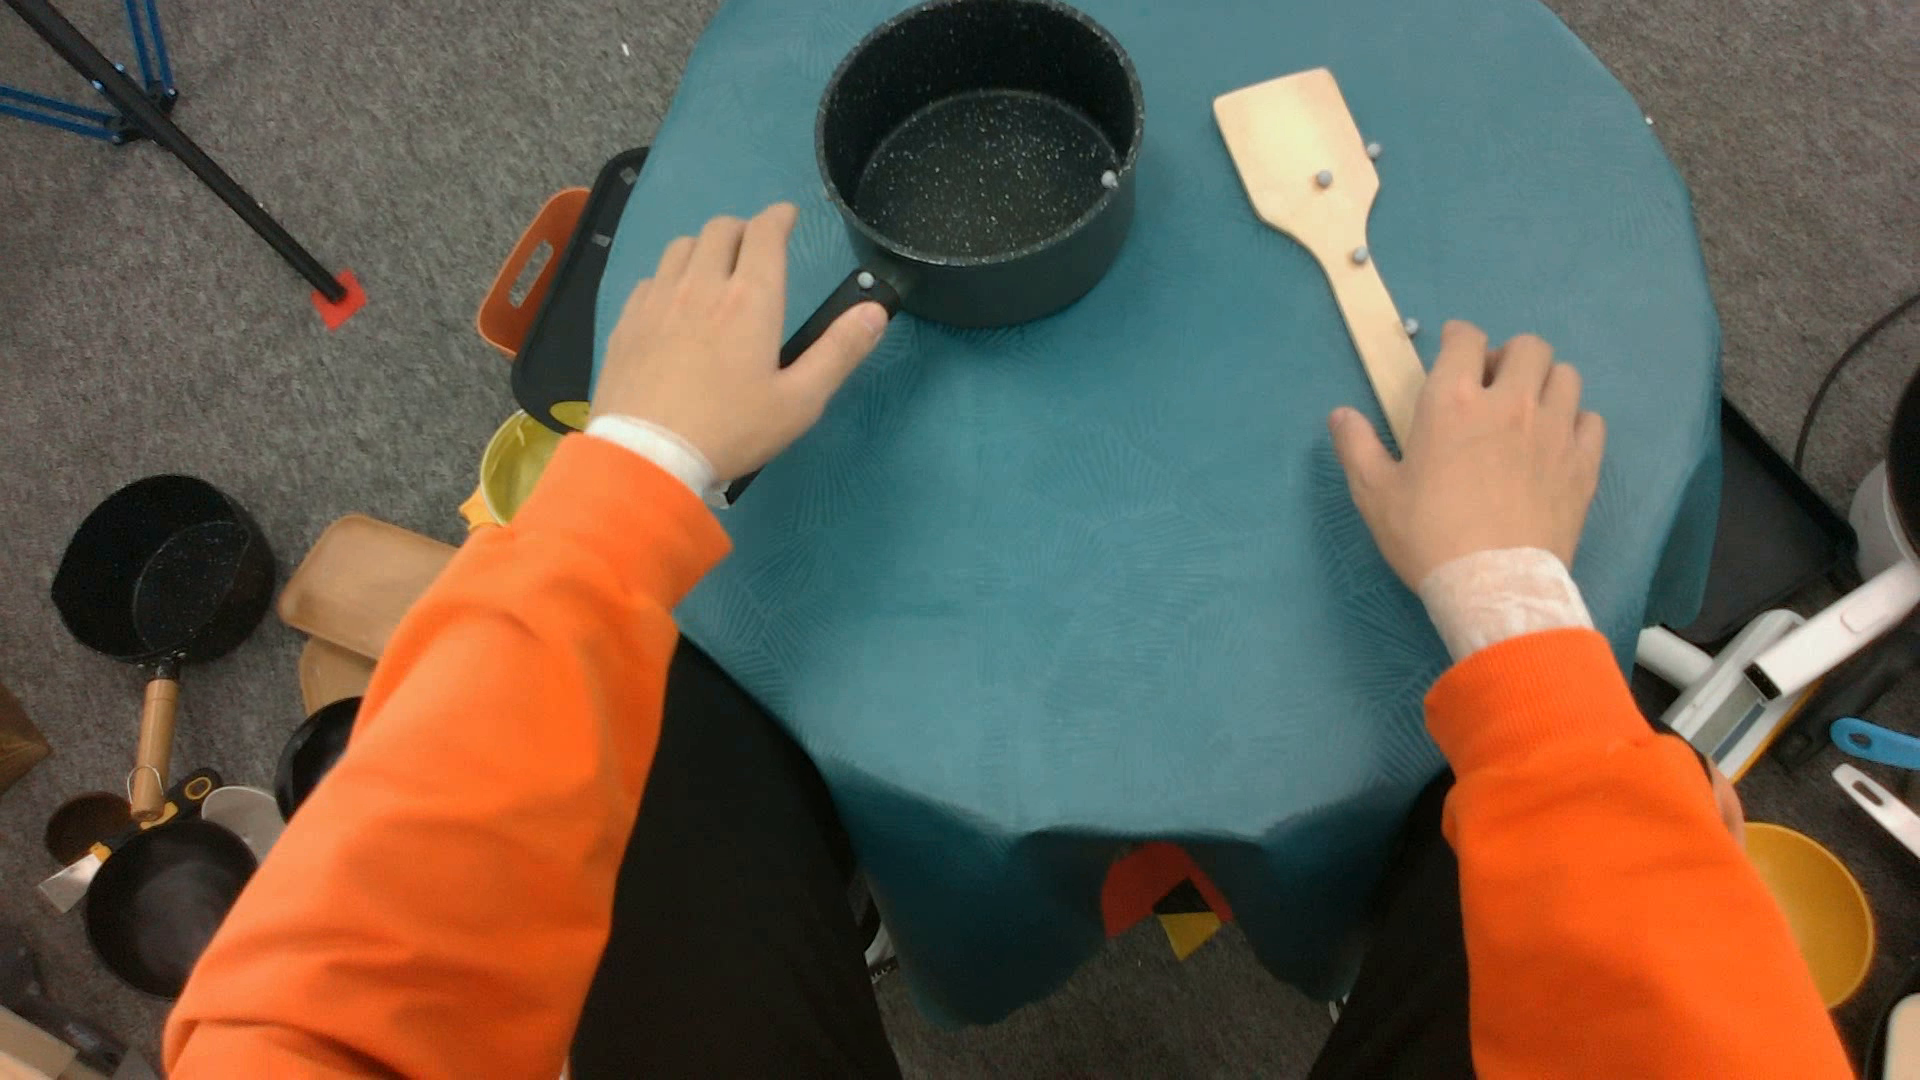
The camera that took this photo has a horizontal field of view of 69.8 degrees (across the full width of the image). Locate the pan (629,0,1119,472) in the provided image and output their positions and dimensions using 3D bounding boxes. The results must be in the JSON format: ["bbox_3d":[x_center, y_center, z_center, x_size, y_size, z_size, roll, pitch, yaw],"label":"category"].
[{"bbox_3d":[-0.046,-0.153,0.721,0.172,0.086,0.329,32,73,17],"label":"pan"}]

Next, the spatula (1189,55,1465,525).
[{"bbox_3d":[0.201,-0.139,0.730,0.072,0.010,0.294,-15,68,-4],"label":"spatula"}]
